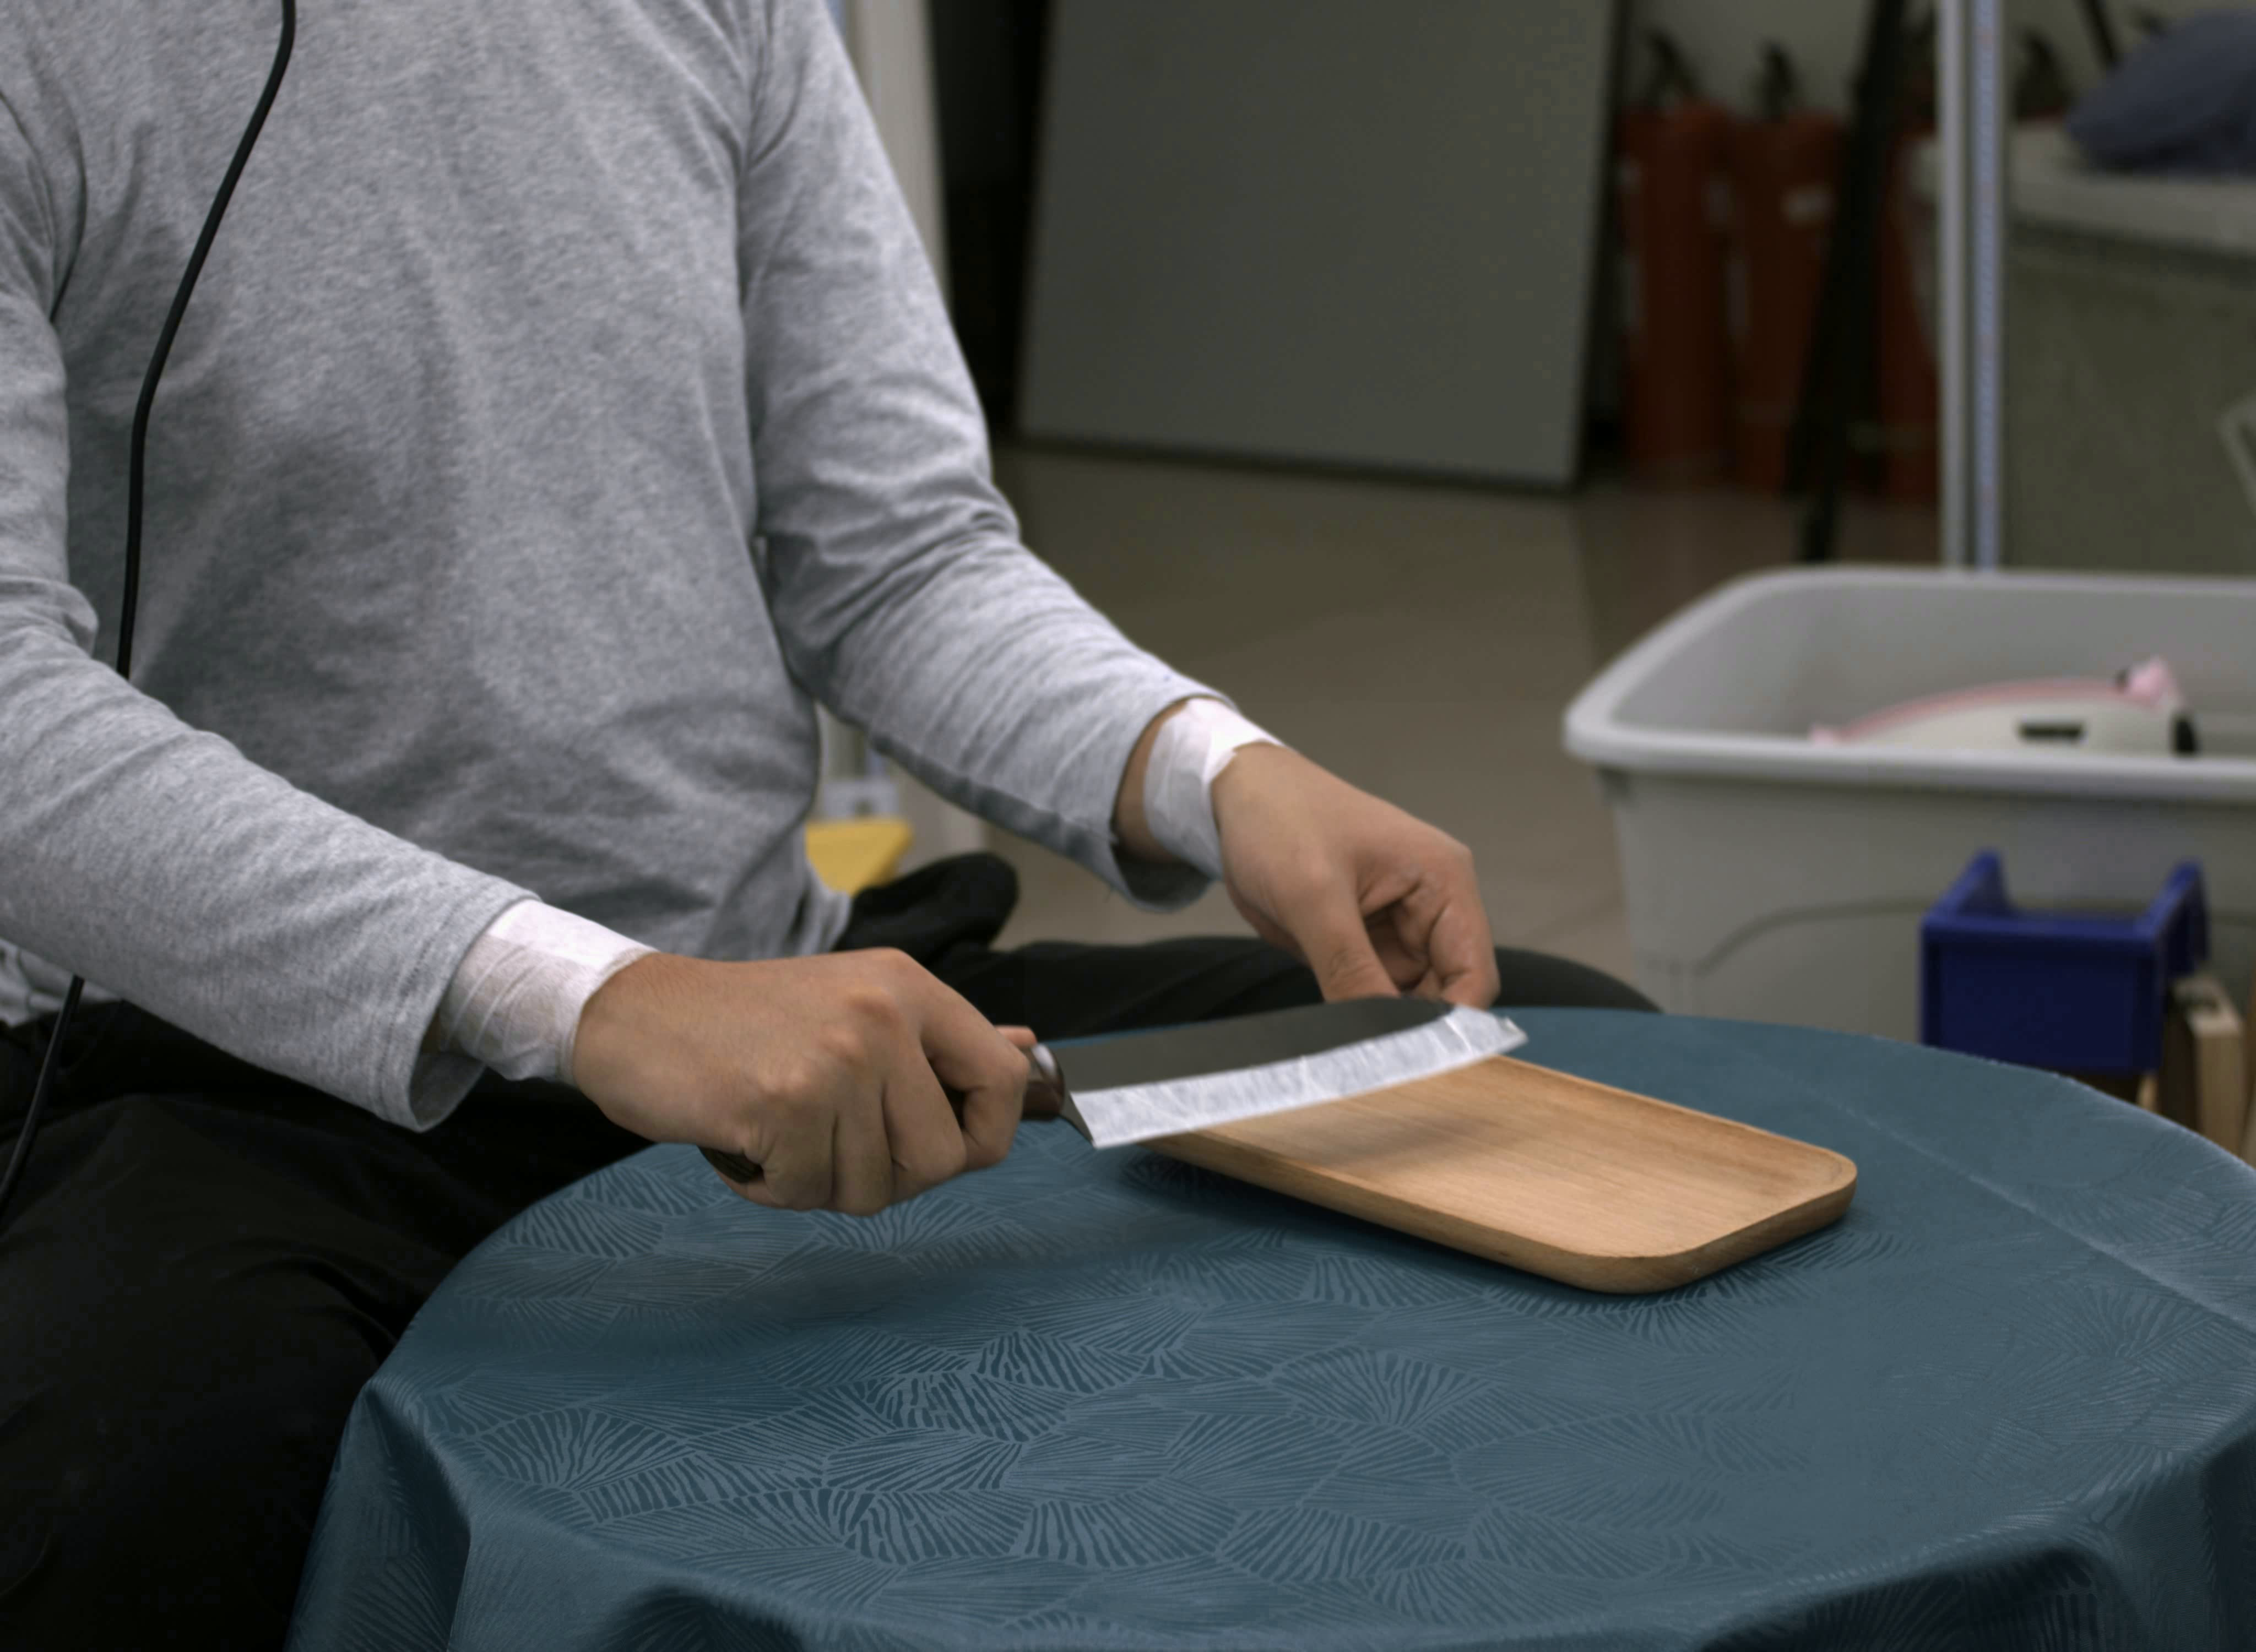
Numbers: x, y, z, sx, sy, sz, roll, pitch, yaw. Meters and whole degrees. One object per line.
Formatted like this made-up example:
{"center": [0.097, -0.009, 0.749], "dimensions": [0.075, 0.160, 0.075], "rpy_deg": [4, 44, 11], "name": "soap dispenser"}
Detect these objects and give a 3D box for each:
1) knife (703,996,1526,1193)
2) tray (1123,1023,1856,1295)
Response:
{"center": [0.001, 0.085, 1.714], "dimensions": [0.283, 0.020, 0.051], "rpy_deg": [-7, 45, -23], "name": "knife"}
{"center": [0.112, 0.105, 1.750], "dimensions": [0.128, 0.023, 0.253], "rpy_deg": [-13, 18, -40], "name": "tray"}
